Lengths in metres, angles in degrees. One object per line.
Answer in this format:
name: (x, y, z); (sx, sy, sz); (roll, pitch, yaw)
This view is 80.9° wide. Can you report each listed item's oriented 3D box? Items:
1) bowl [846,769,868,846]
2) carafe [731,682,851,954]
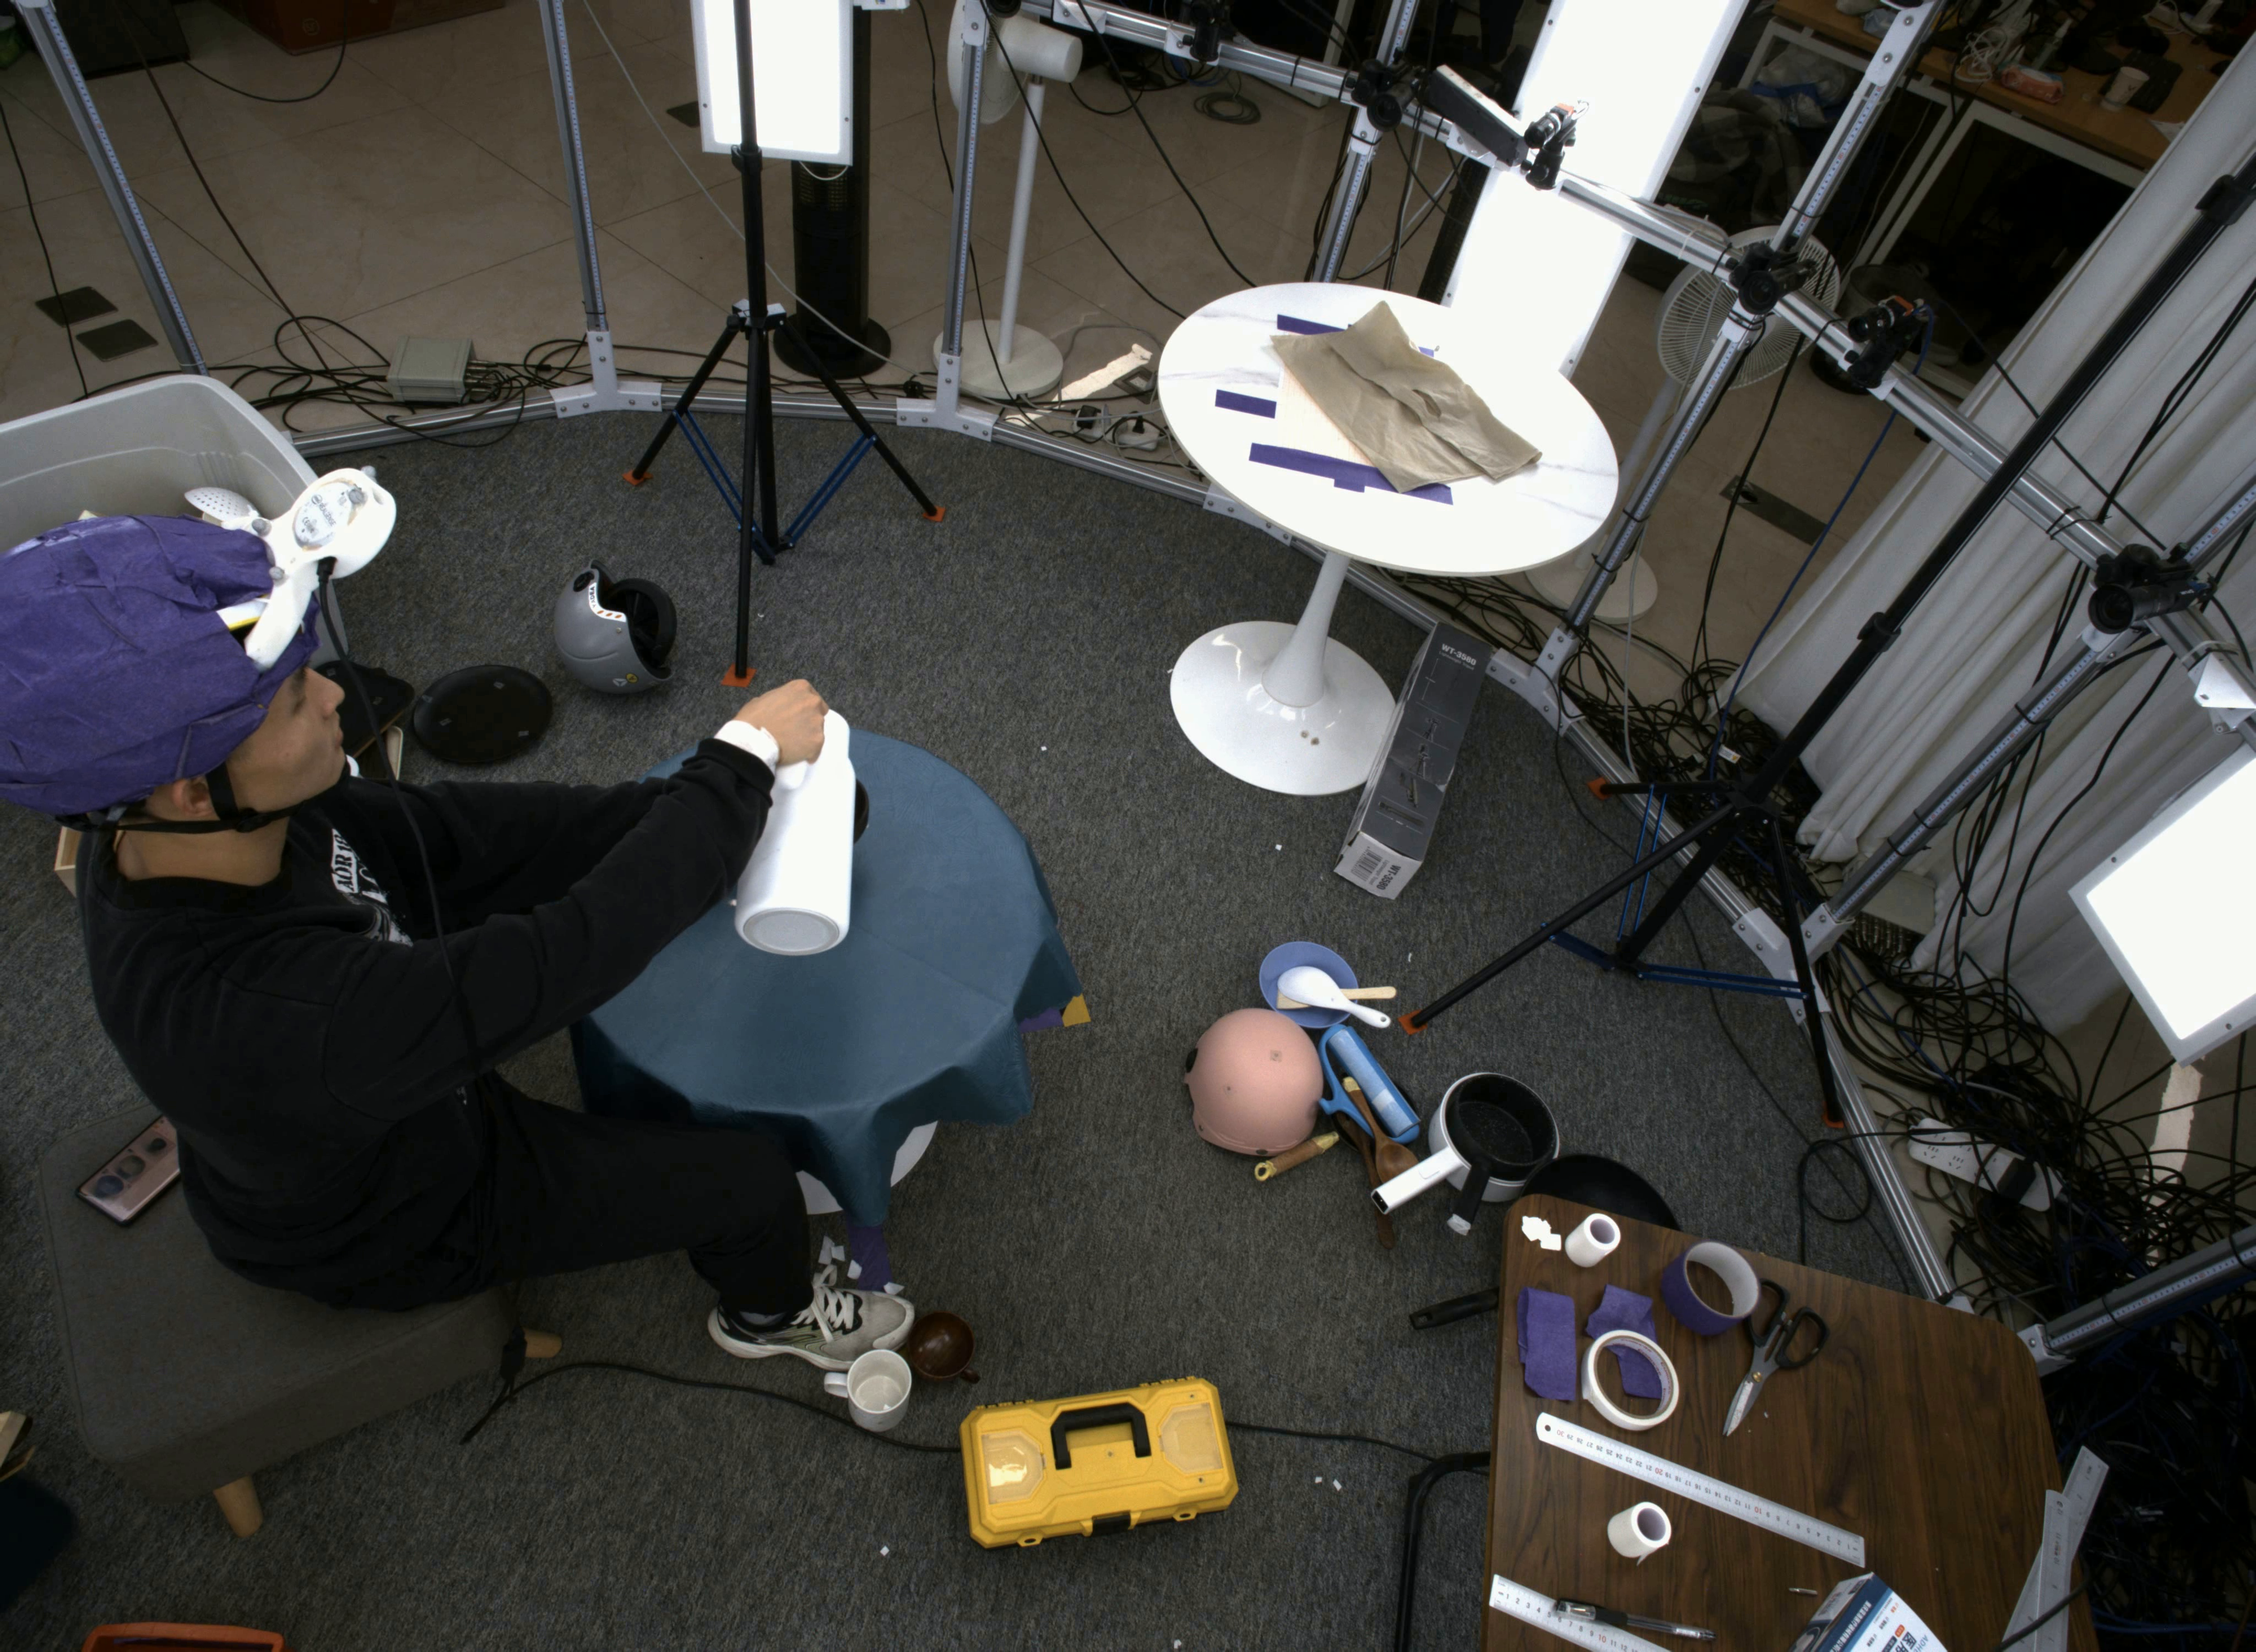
bowl: (-0.387, -0.016, 1.626); (0.118, 0.071, 0.116); (9, 50, -10)
carafe: (-0.356, -0.016, 1.382); (0.123, 0.176, 0.264); (2, 57, -8)
